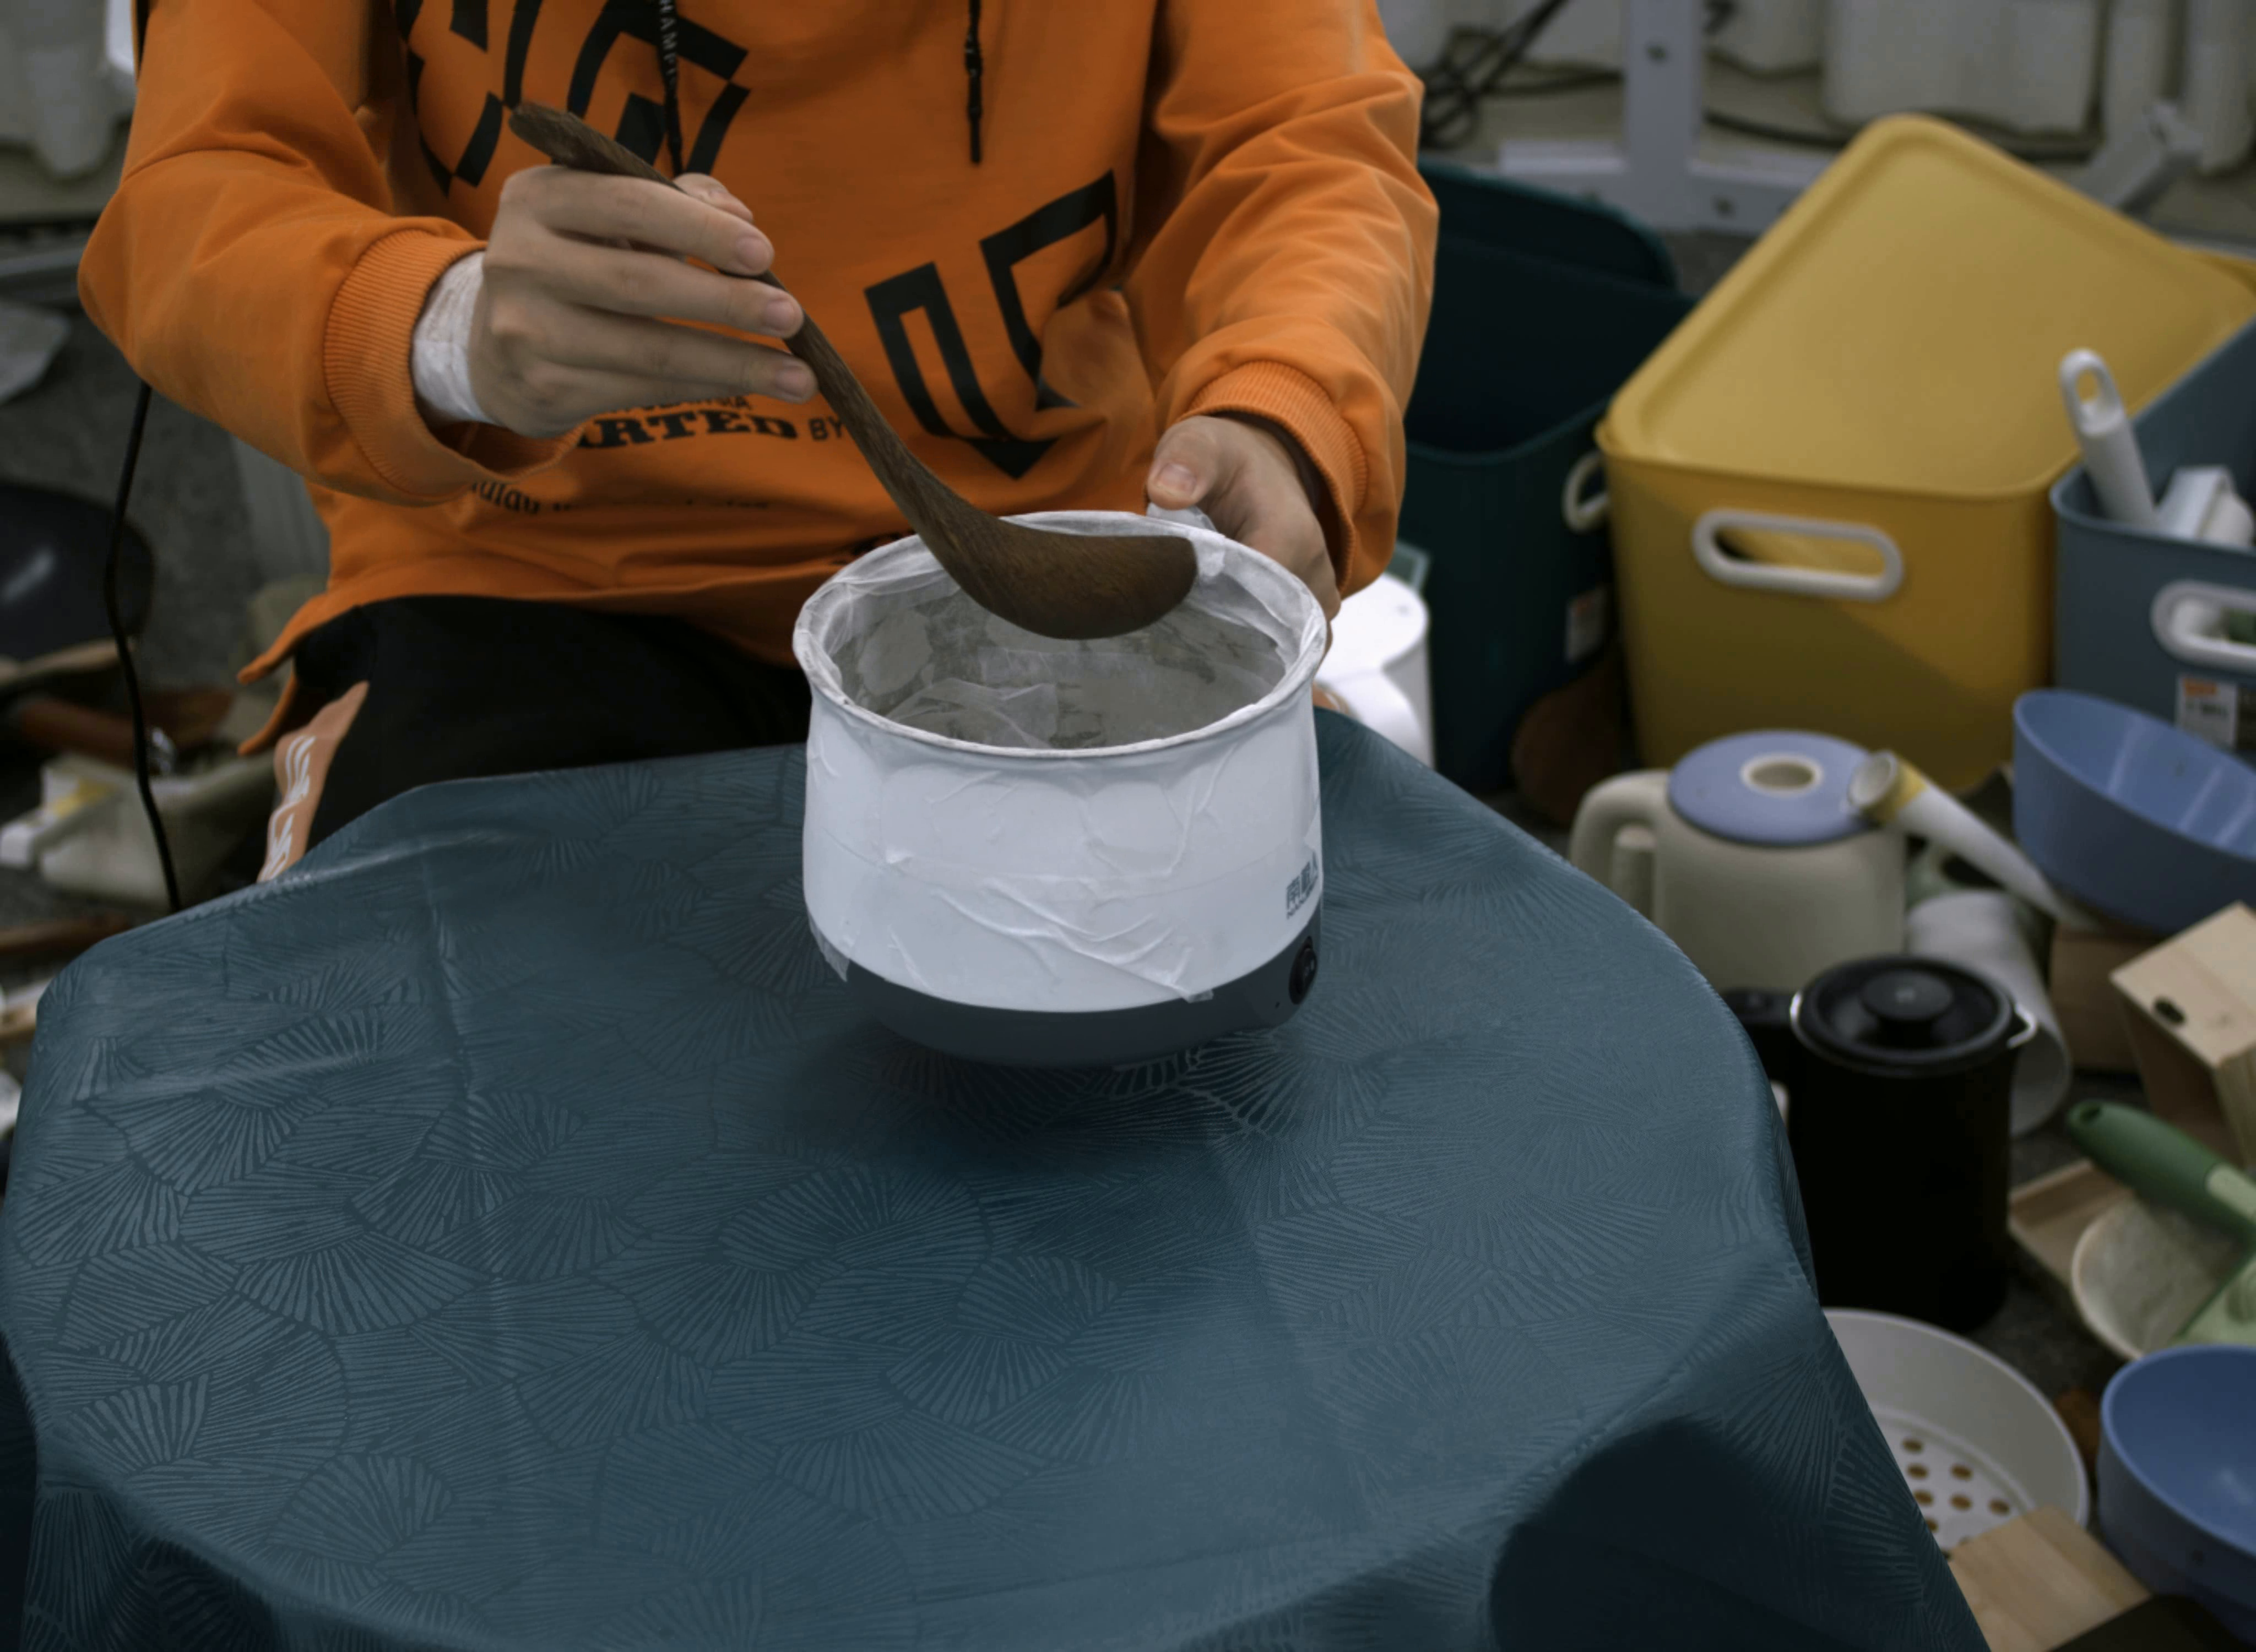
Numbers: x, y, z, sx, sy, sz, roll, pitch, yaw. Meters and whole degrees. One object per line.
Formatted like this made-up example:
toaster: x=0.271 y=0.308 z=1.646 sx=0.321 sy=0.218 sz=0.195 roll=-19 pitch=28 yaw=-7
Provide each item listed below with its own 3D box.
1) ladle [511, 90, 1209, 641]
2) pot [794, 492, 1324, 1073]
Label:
ladle: x=-0.086 y=-0.163 z=1.891 sx=0.072 sy=0.274 sz=0.075 roll=-46 pitch=3 yaw=-25
pot: x=-0.013 y=-0.023 z=1.917 sx=0.177 sy=0.135 sz=0.238 roll=10 pitch=30 yaw=18
